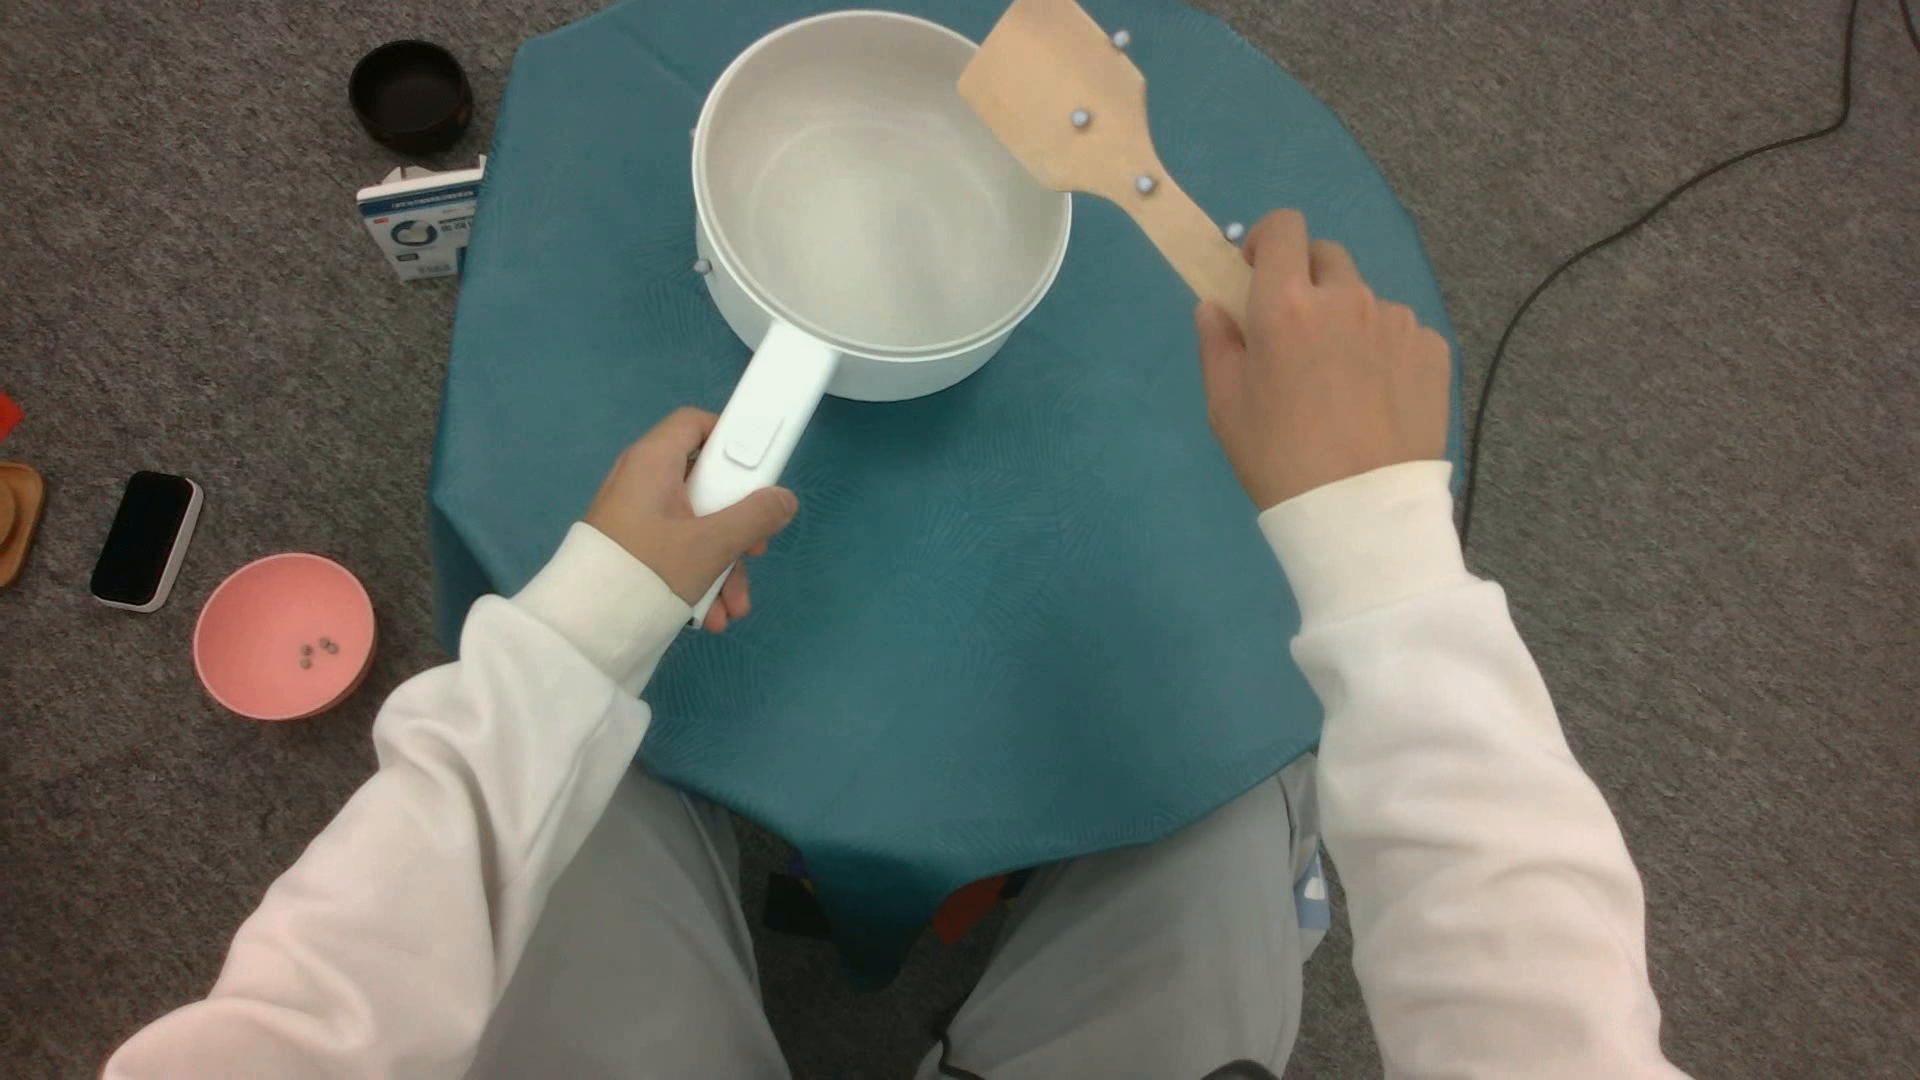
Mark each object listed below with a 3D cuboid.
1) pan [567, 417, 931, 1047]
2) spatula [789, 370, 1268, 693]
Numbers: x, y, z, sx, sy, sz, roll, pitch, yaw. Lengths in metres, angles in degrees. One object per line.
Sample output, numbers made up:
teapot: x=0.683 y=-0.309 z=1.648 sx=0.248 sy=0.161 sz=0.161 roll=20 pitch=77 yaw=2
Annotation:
pan: x=-0.132 y=0.100 z=0.766 sx=0.201 sy=0.101 sz=0.356 roll=11 pitch=58 yaw=-4
spatula: x=0.025 y=-0.004 z=0.681 sx=0.293 sy=0.011 sz=0.072 roll=29 pitch=103 yaw=32
